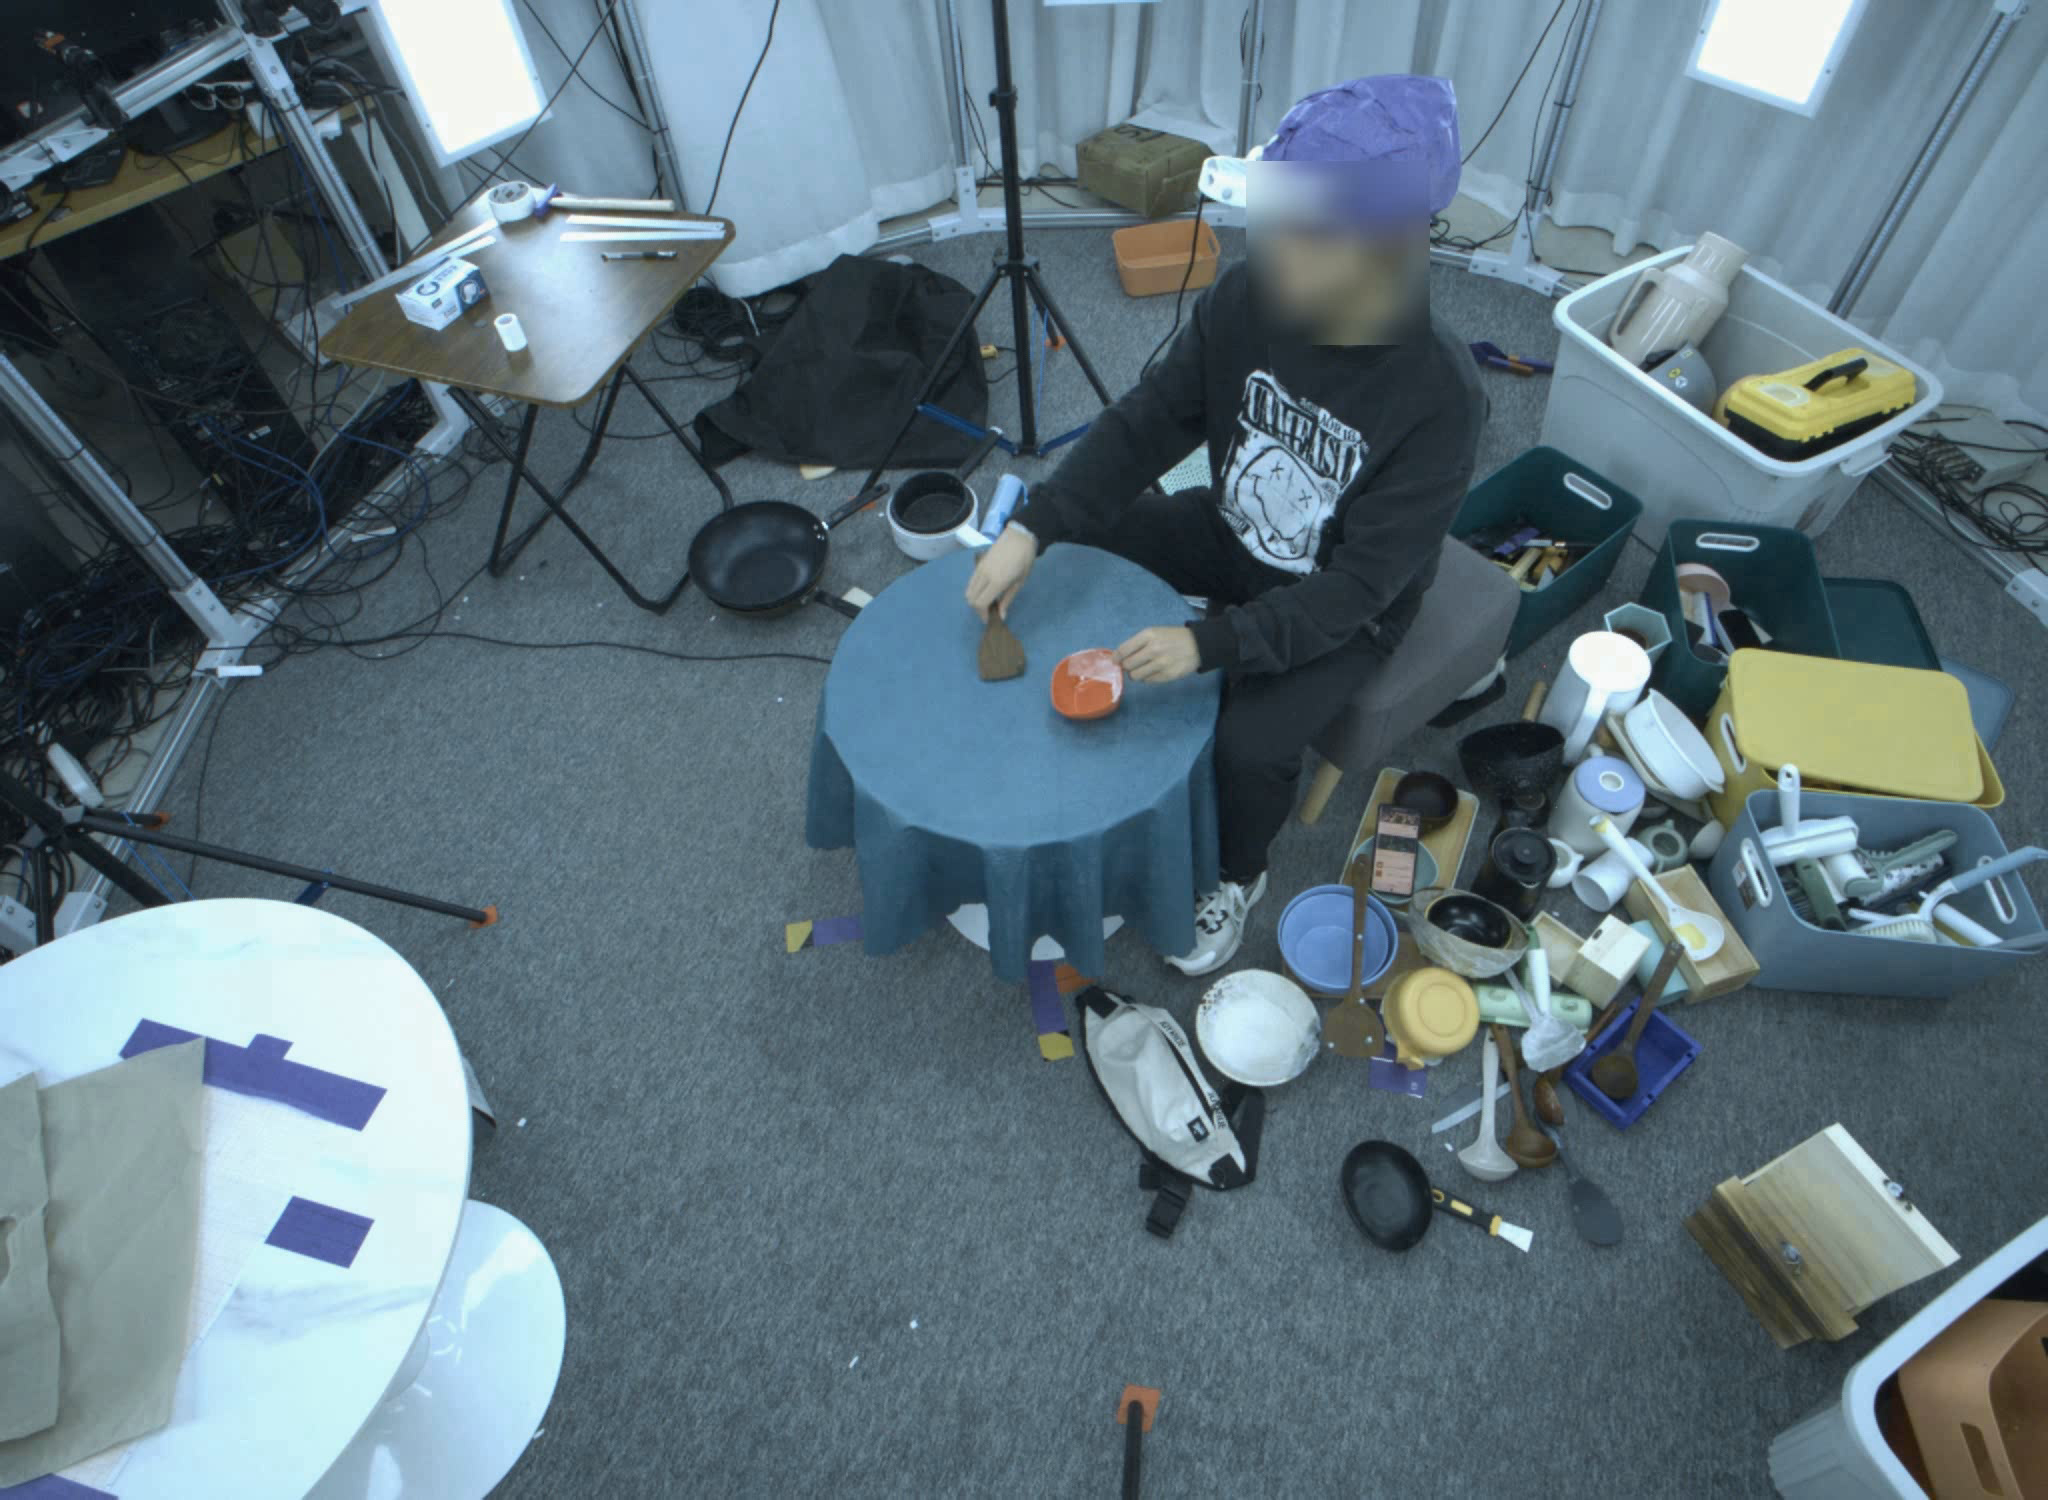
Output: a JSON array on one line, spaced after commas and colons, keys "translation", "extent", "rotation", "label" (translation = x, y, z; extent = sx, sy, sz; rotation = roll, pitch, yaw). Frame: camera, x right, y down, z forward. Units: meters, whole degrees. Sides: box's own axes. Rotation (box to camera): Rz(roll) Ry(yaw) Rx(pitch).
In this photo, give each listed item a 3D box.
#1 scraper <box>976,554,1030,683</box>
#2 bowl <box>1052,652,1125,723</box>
[{"translation": [-0.044, -0.204, 1.890], "extent": [0.076, 0.011, 0.210], "rotation": [-10, 79, -4], "label": "scraper"}, {"translation": [0.102, -0.084, 1.813], "extent": [0.117, 0.052, 0.118], "rotation": [-10, 58, 18], "label": "bowl"}]
